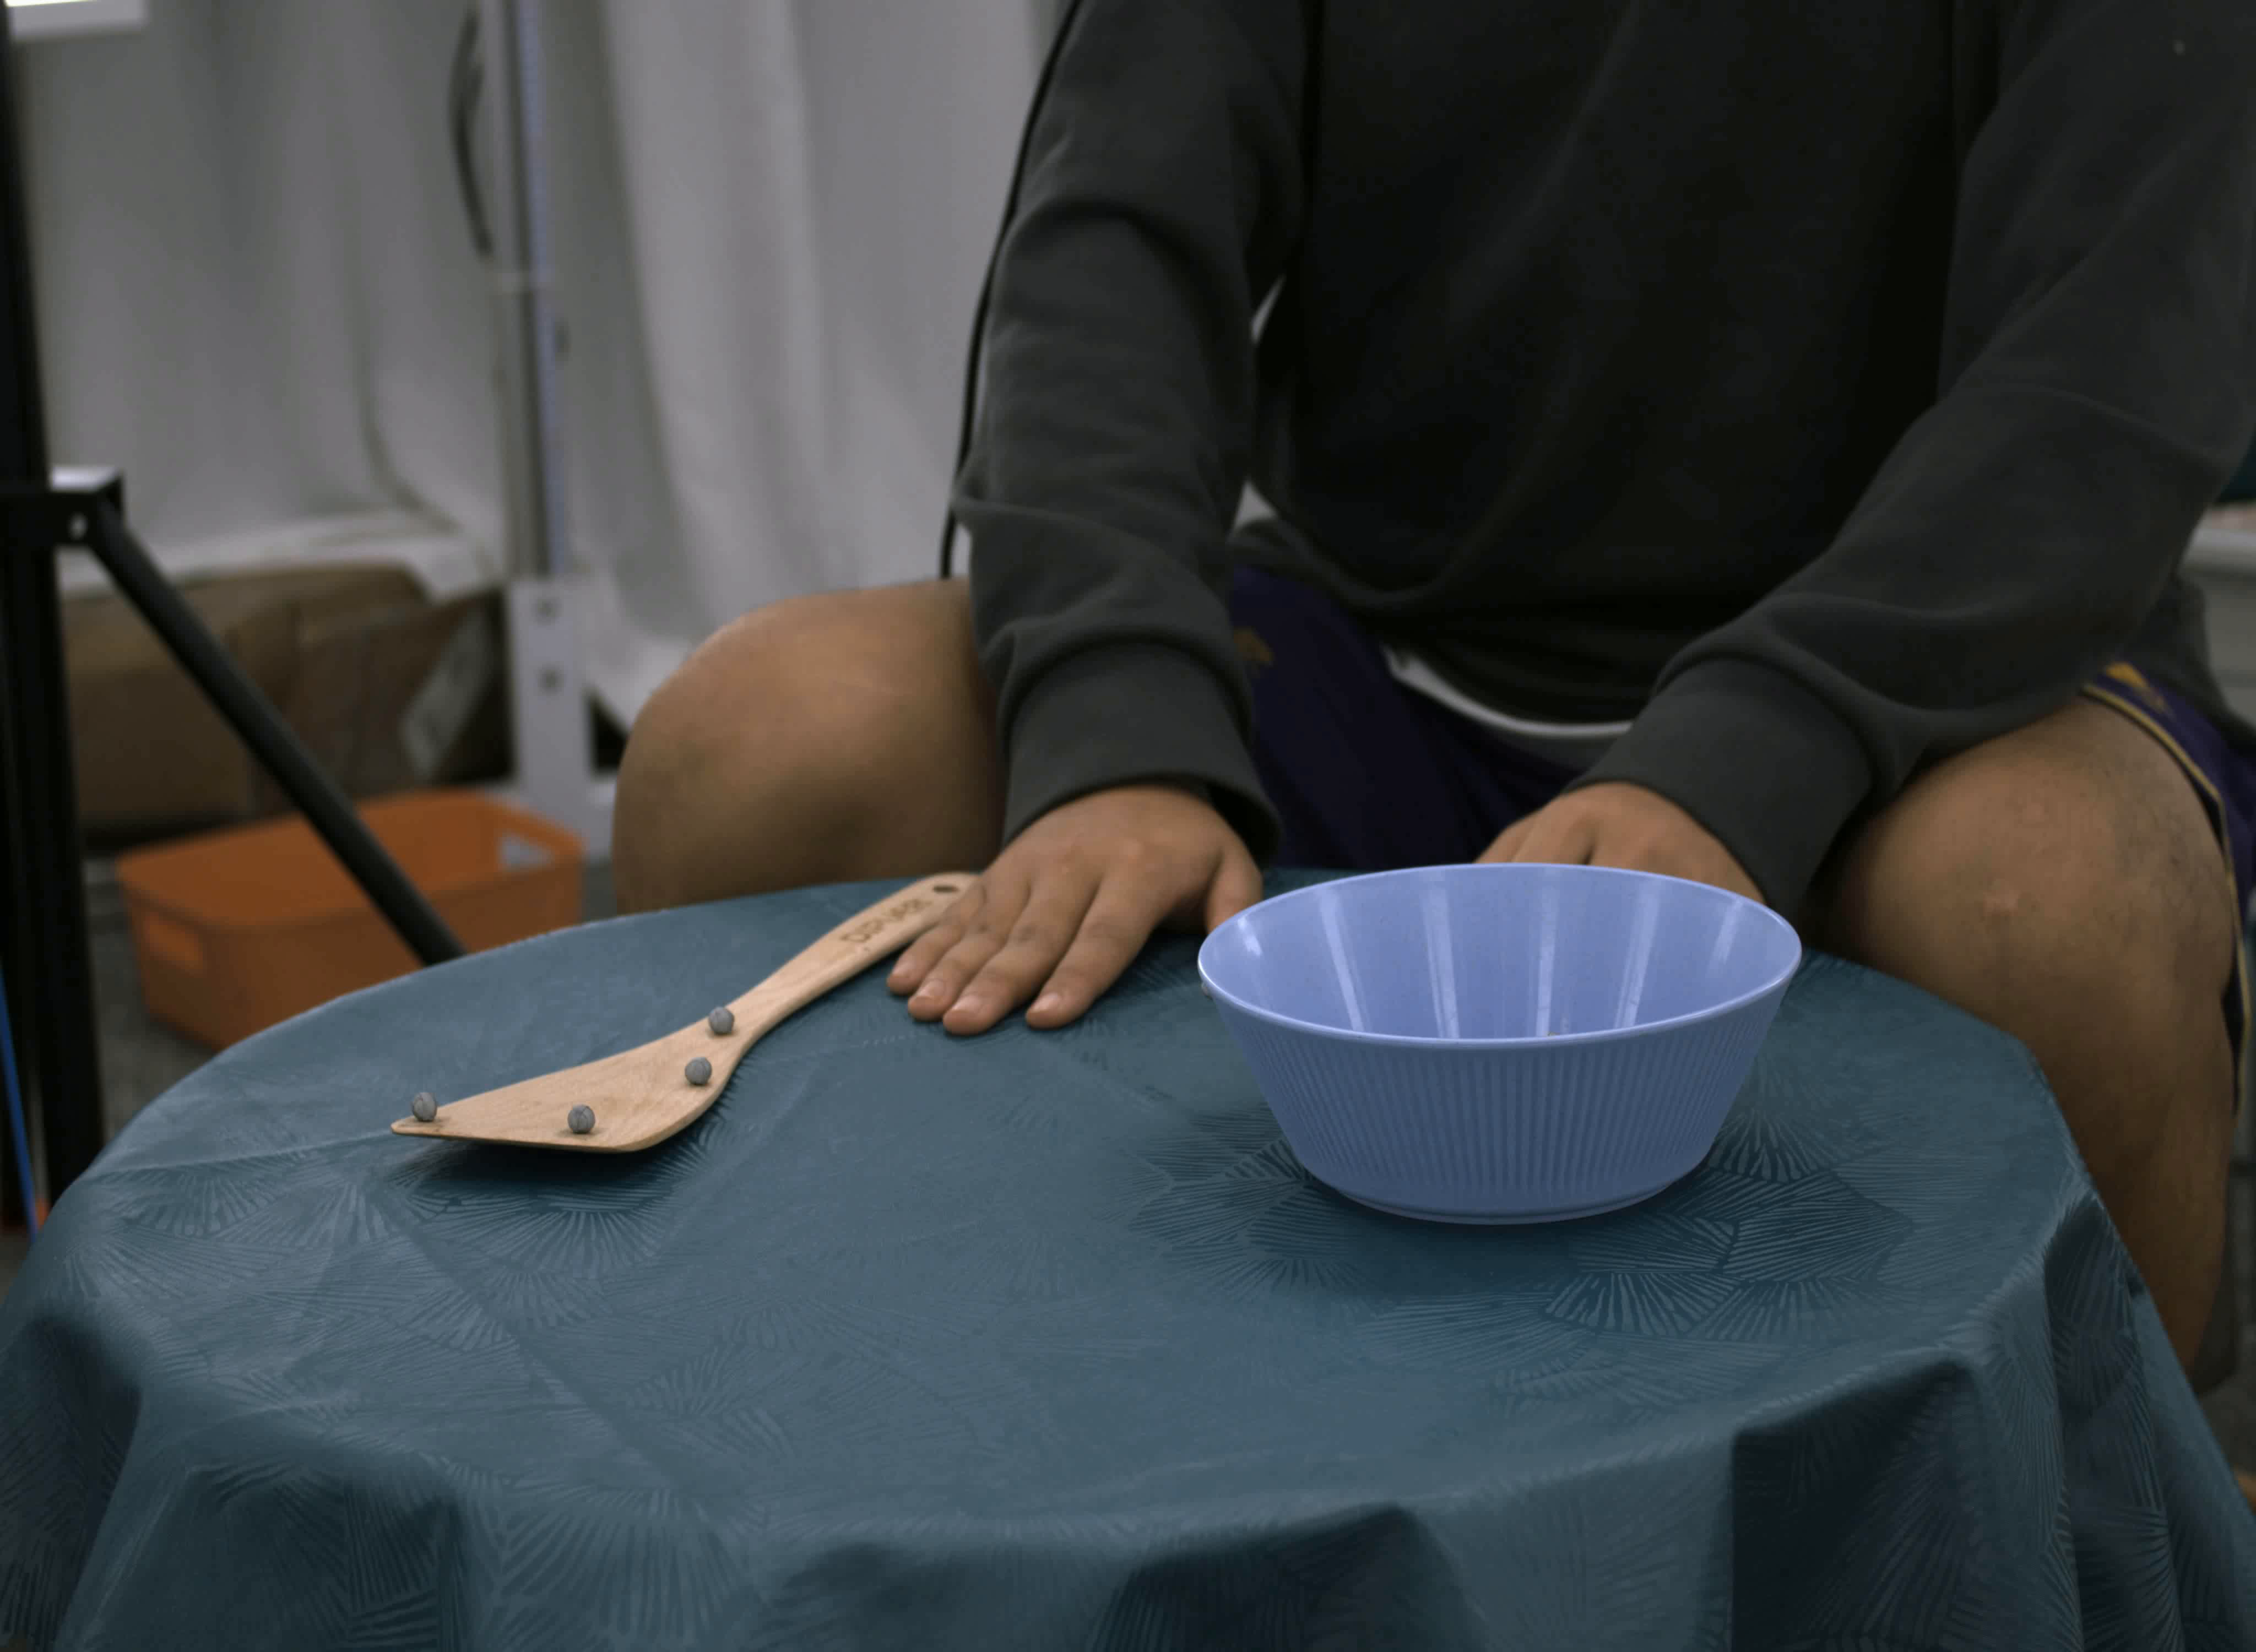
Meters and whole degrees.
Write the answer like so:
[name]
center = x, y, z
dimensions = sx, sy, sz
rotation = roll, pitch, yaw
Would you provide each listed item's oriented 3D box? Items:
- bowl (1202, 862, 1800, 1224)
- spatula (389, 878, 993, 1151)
[bowl]
center = 0.110, 0.067, 1.559
dimensions = 0.175, 0.070, 0.177
rotation = -3, 16, -1
[spatula]
center = -0.122, 0.059, 1.726
dimensions = 0.081, 0.016, 0.322
rotation = 4, 17, 25
